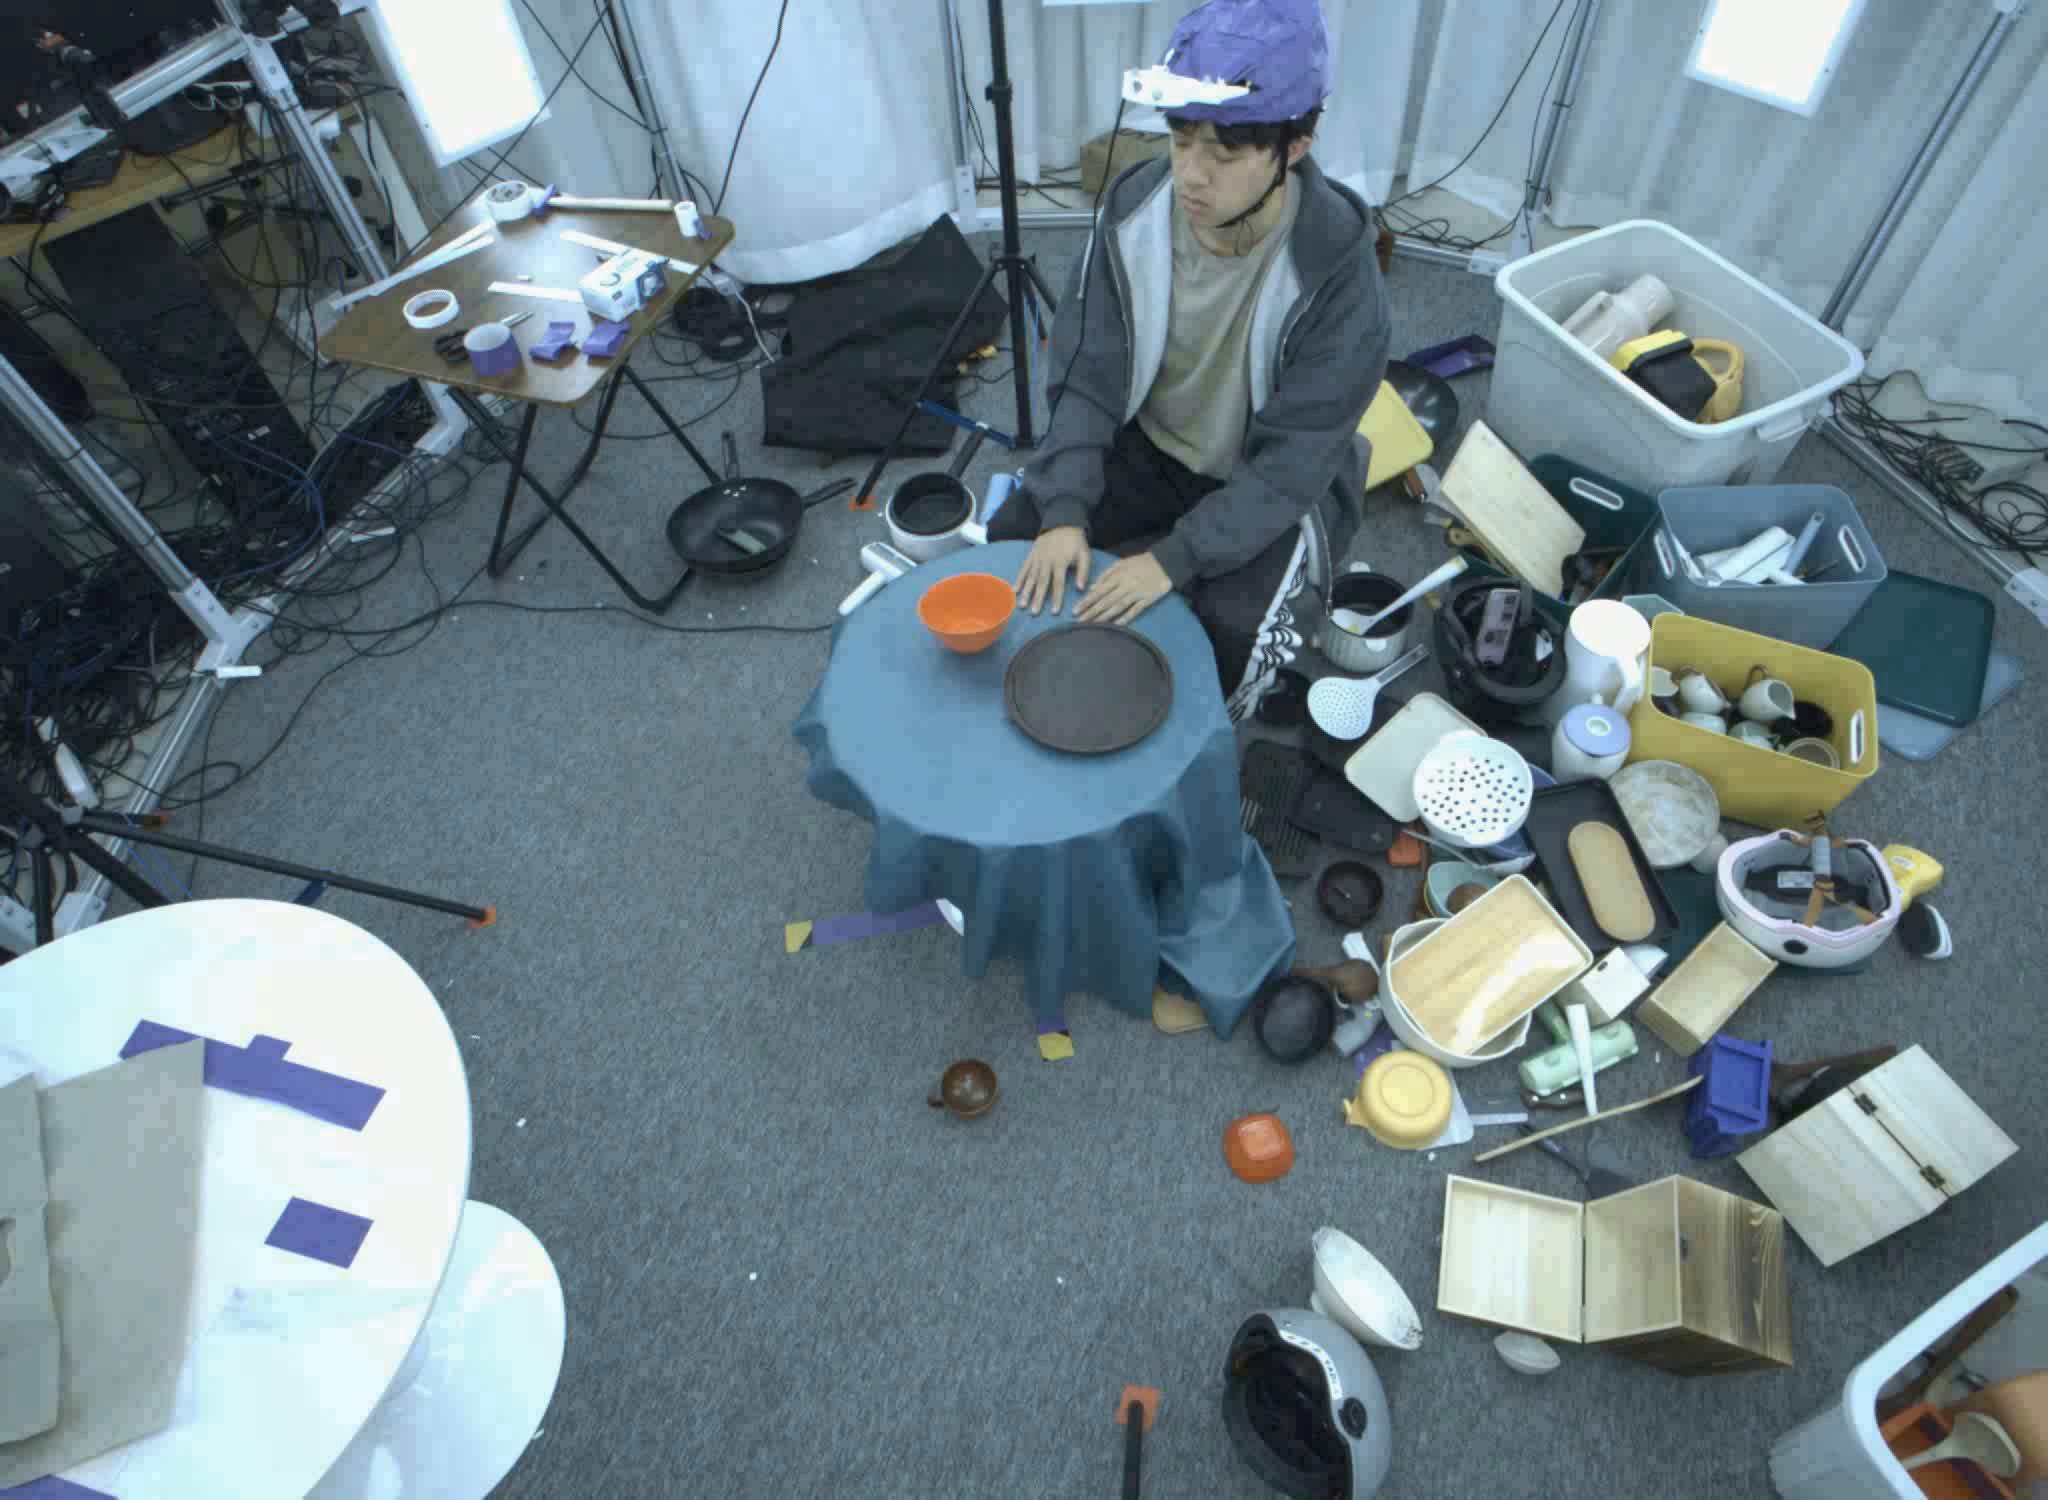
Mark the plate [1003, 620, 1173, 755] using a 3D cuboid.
[{"bbox_3d":[0.096,-0.094,1.840,0.254,0.029,0.252,-1,54,3],"label":"plate"}]

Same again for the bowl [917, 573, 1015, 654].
[{"bbox_3d":[-0.084,-0.195,1.869,0.148,0.106,0.146,-2,55,4],"label":"bowl"}]
